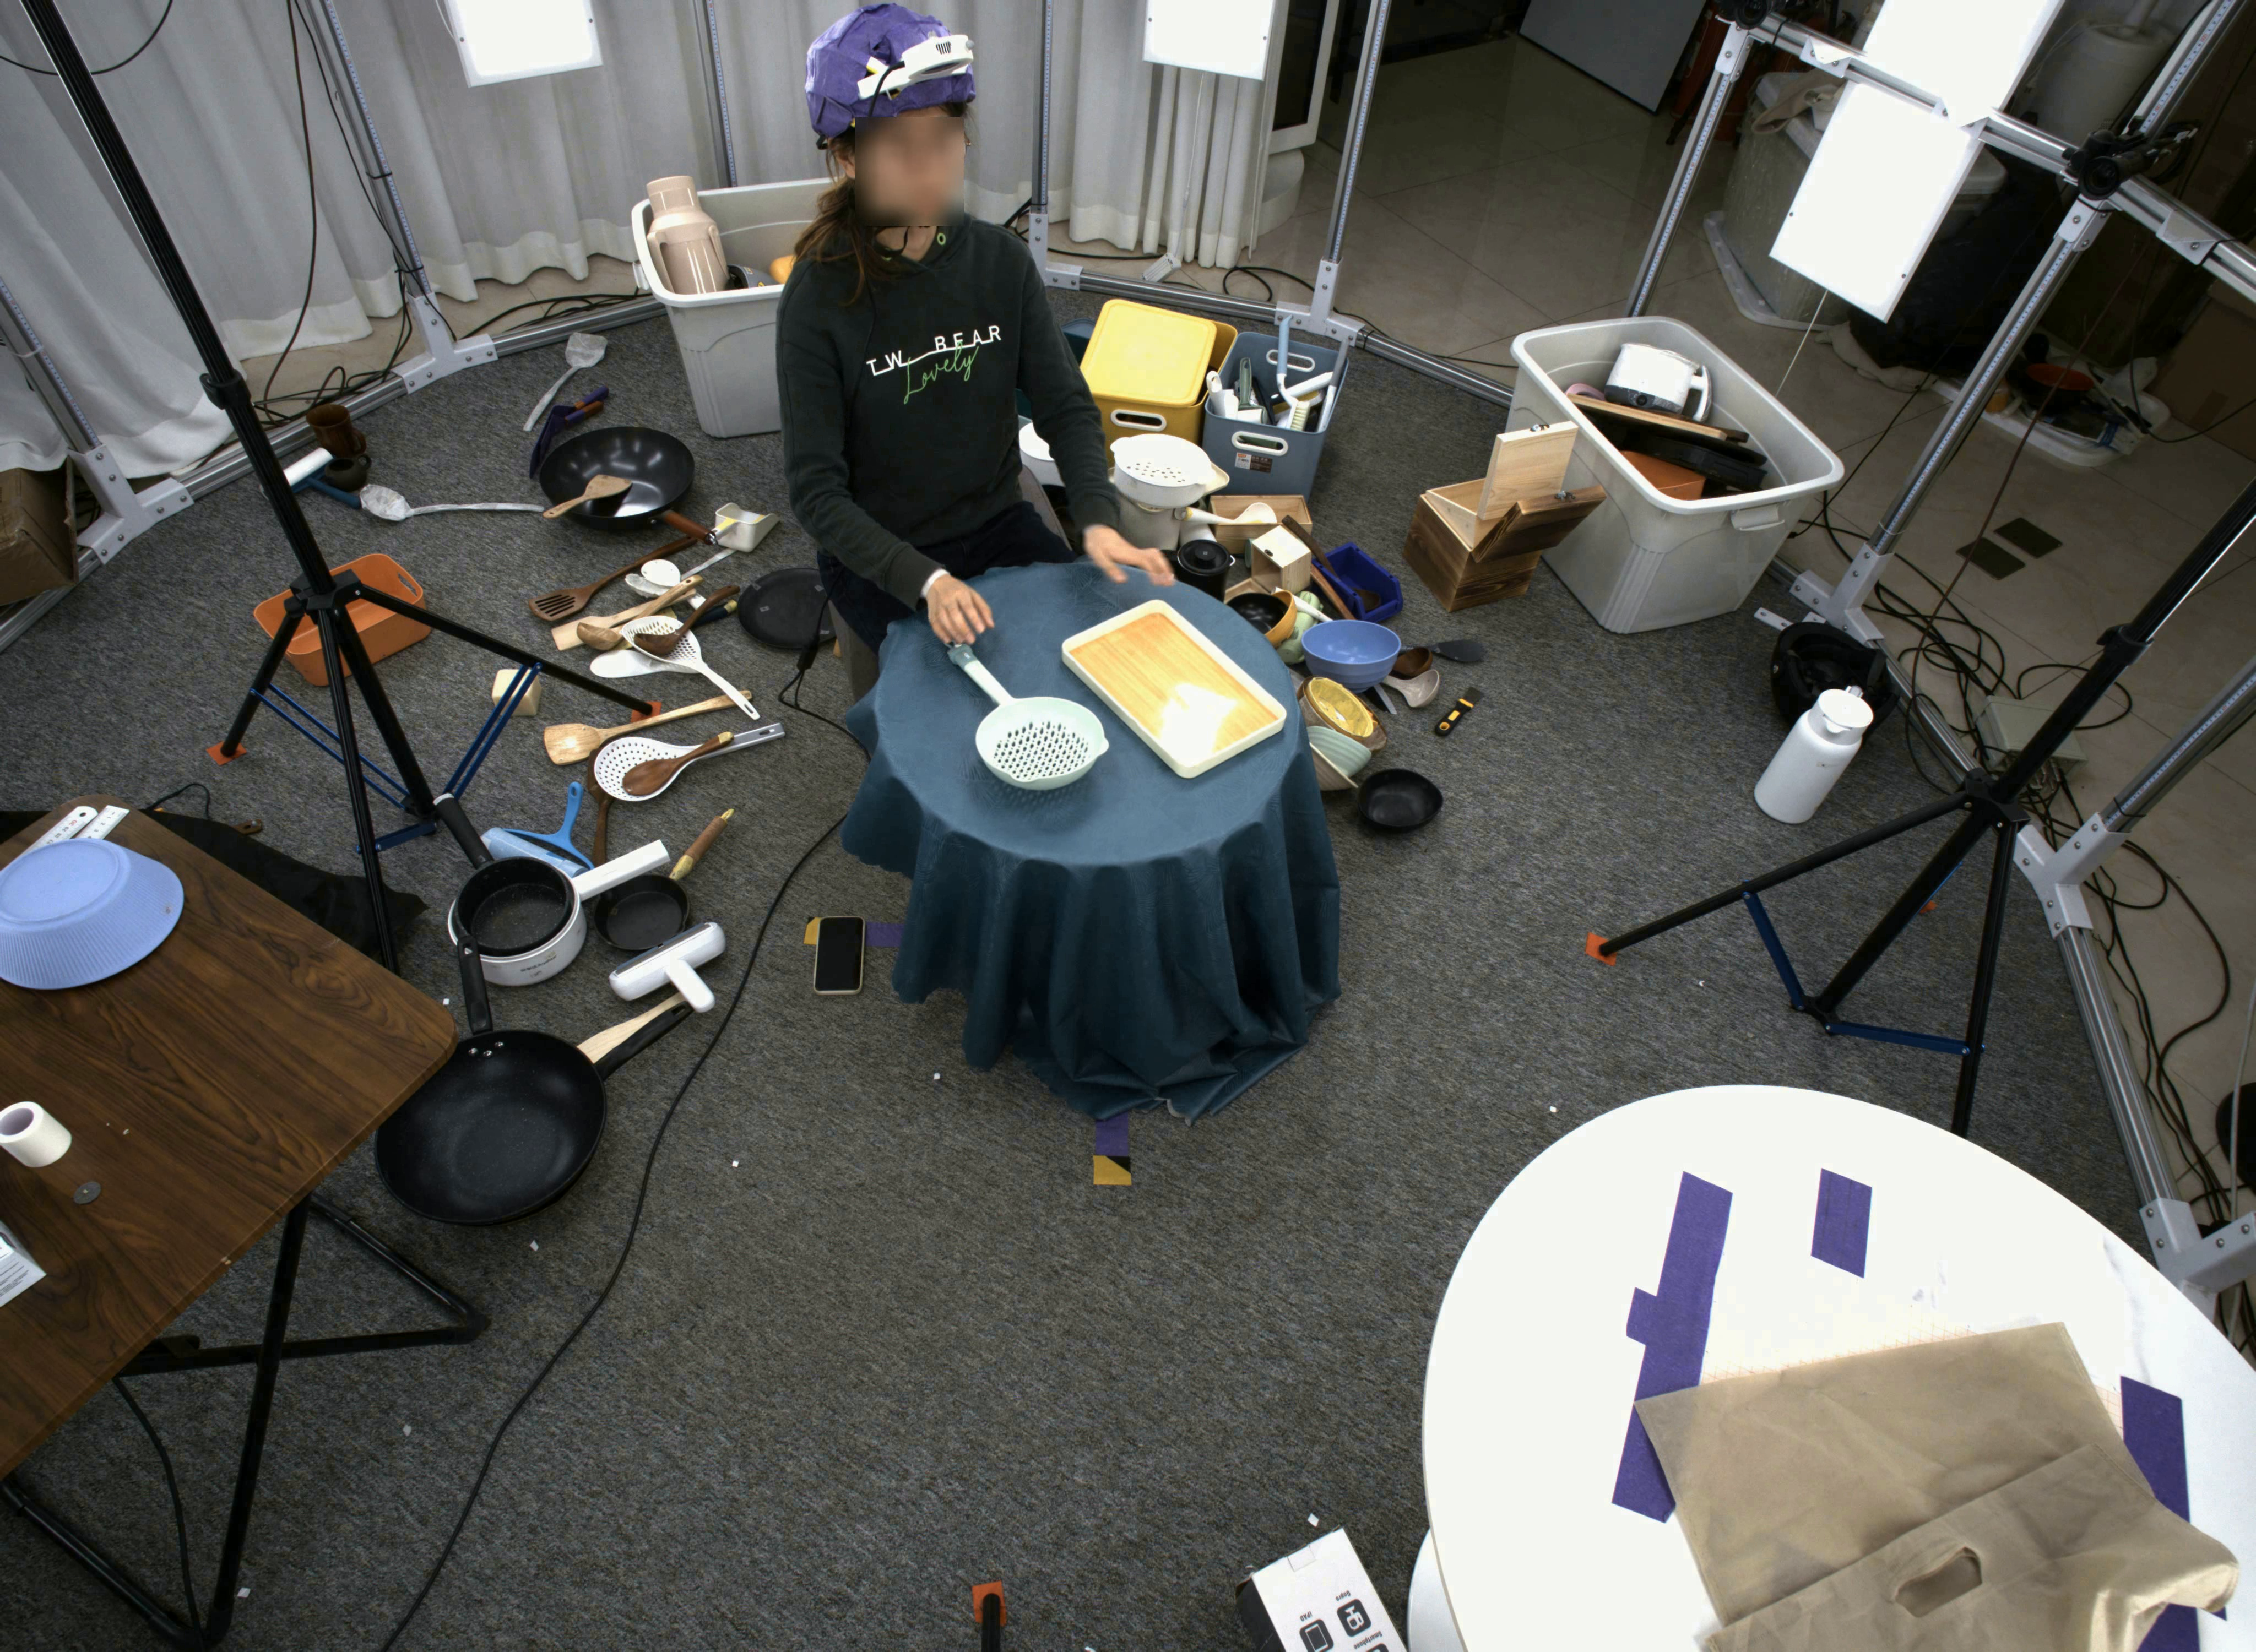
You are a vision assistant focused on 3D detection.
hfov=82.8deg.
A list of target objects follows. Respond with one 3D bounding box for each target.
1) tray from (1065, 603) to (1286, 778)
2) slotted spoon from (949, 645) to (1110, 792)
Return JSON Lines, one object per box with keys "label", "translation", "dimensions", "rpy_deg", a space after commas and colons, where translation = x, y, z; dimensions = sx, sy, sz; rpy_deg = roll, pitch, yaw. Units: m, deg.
{"label": "tray", "translation": [0.065, -0.201, 1.847], "dimensions": [0.192, 0.027, 0.306], "rpy_deg": [-28, 56, -25]}
{"label": "slotted spoon", "translation": [-0.165, -0.165, 1.775], "dimensions": [0.170, 0.073, 0.366], "rpy_deg": [-21, 53, -22]}
